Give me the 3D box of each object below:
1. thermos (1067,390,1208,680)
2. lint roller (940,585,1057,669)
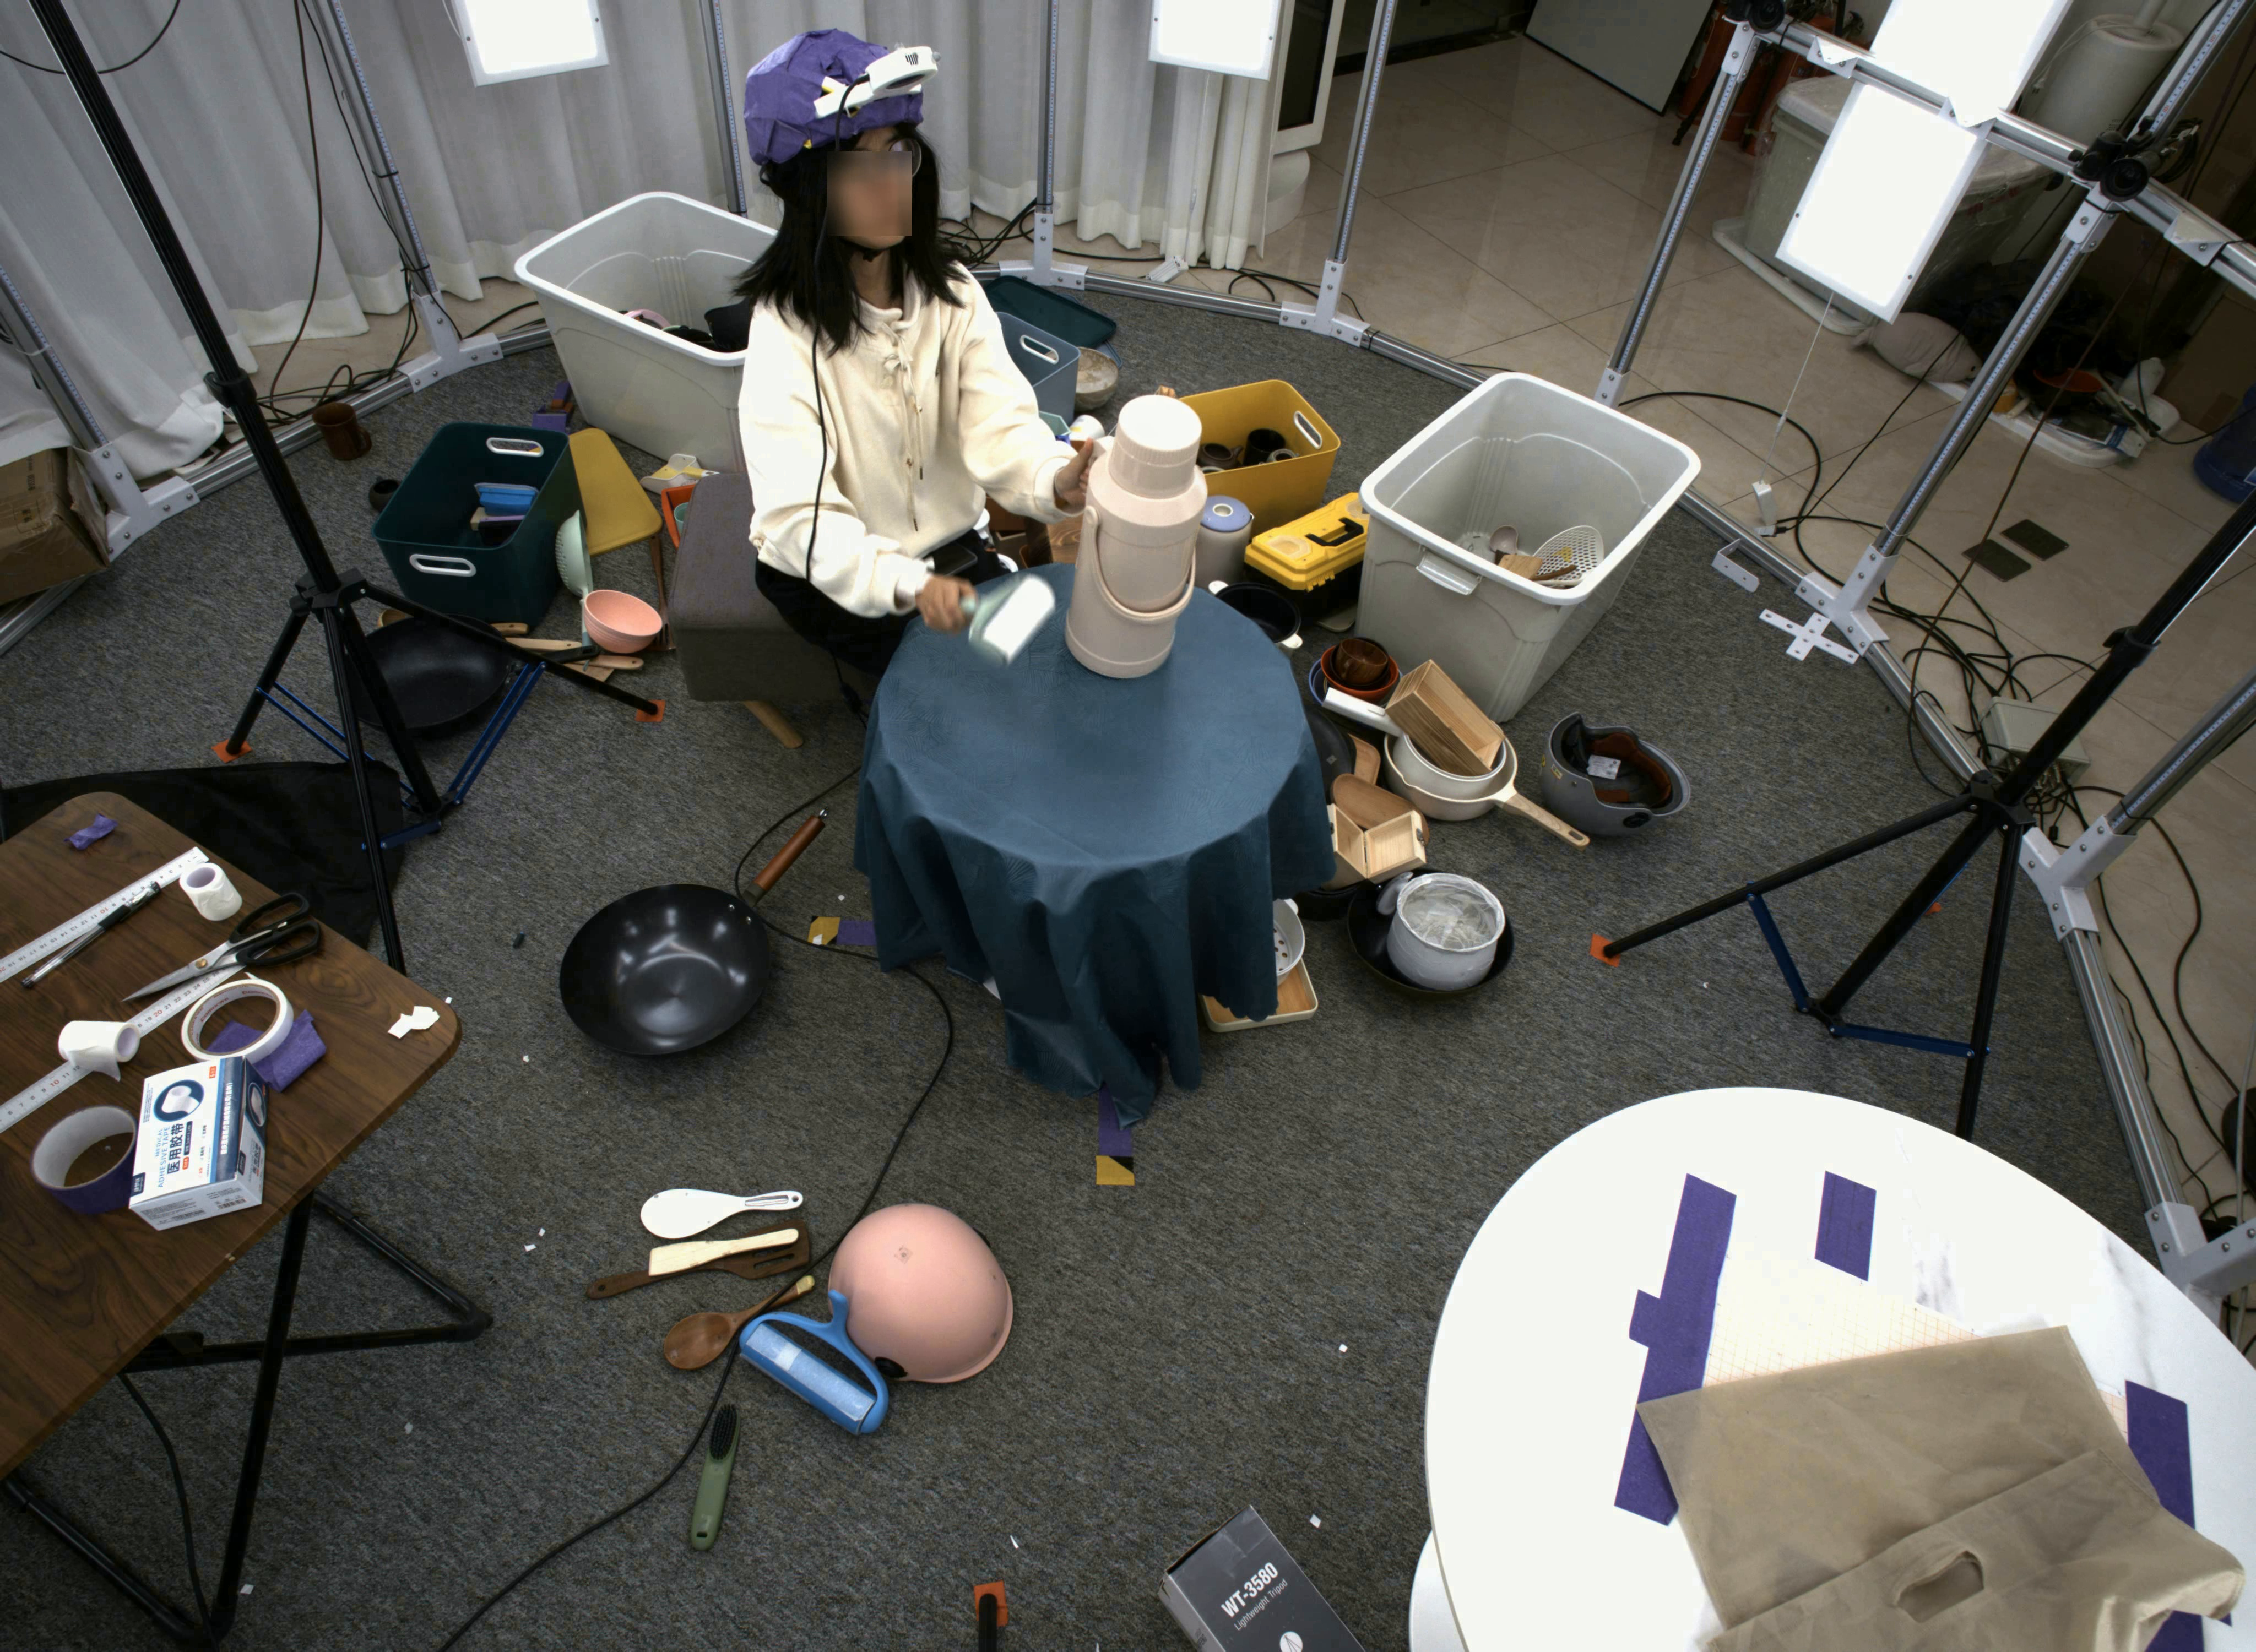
[{"bbox_3d":[0.008,-0.398,1.749,0.176,0.397,0.211,-24,62,-23],"label":"thermos"},{"bbox_3d":[-0.188,-0.273,1.692,0.200,0.047,0.118,21,65,43],"label":"lint roller"}]
